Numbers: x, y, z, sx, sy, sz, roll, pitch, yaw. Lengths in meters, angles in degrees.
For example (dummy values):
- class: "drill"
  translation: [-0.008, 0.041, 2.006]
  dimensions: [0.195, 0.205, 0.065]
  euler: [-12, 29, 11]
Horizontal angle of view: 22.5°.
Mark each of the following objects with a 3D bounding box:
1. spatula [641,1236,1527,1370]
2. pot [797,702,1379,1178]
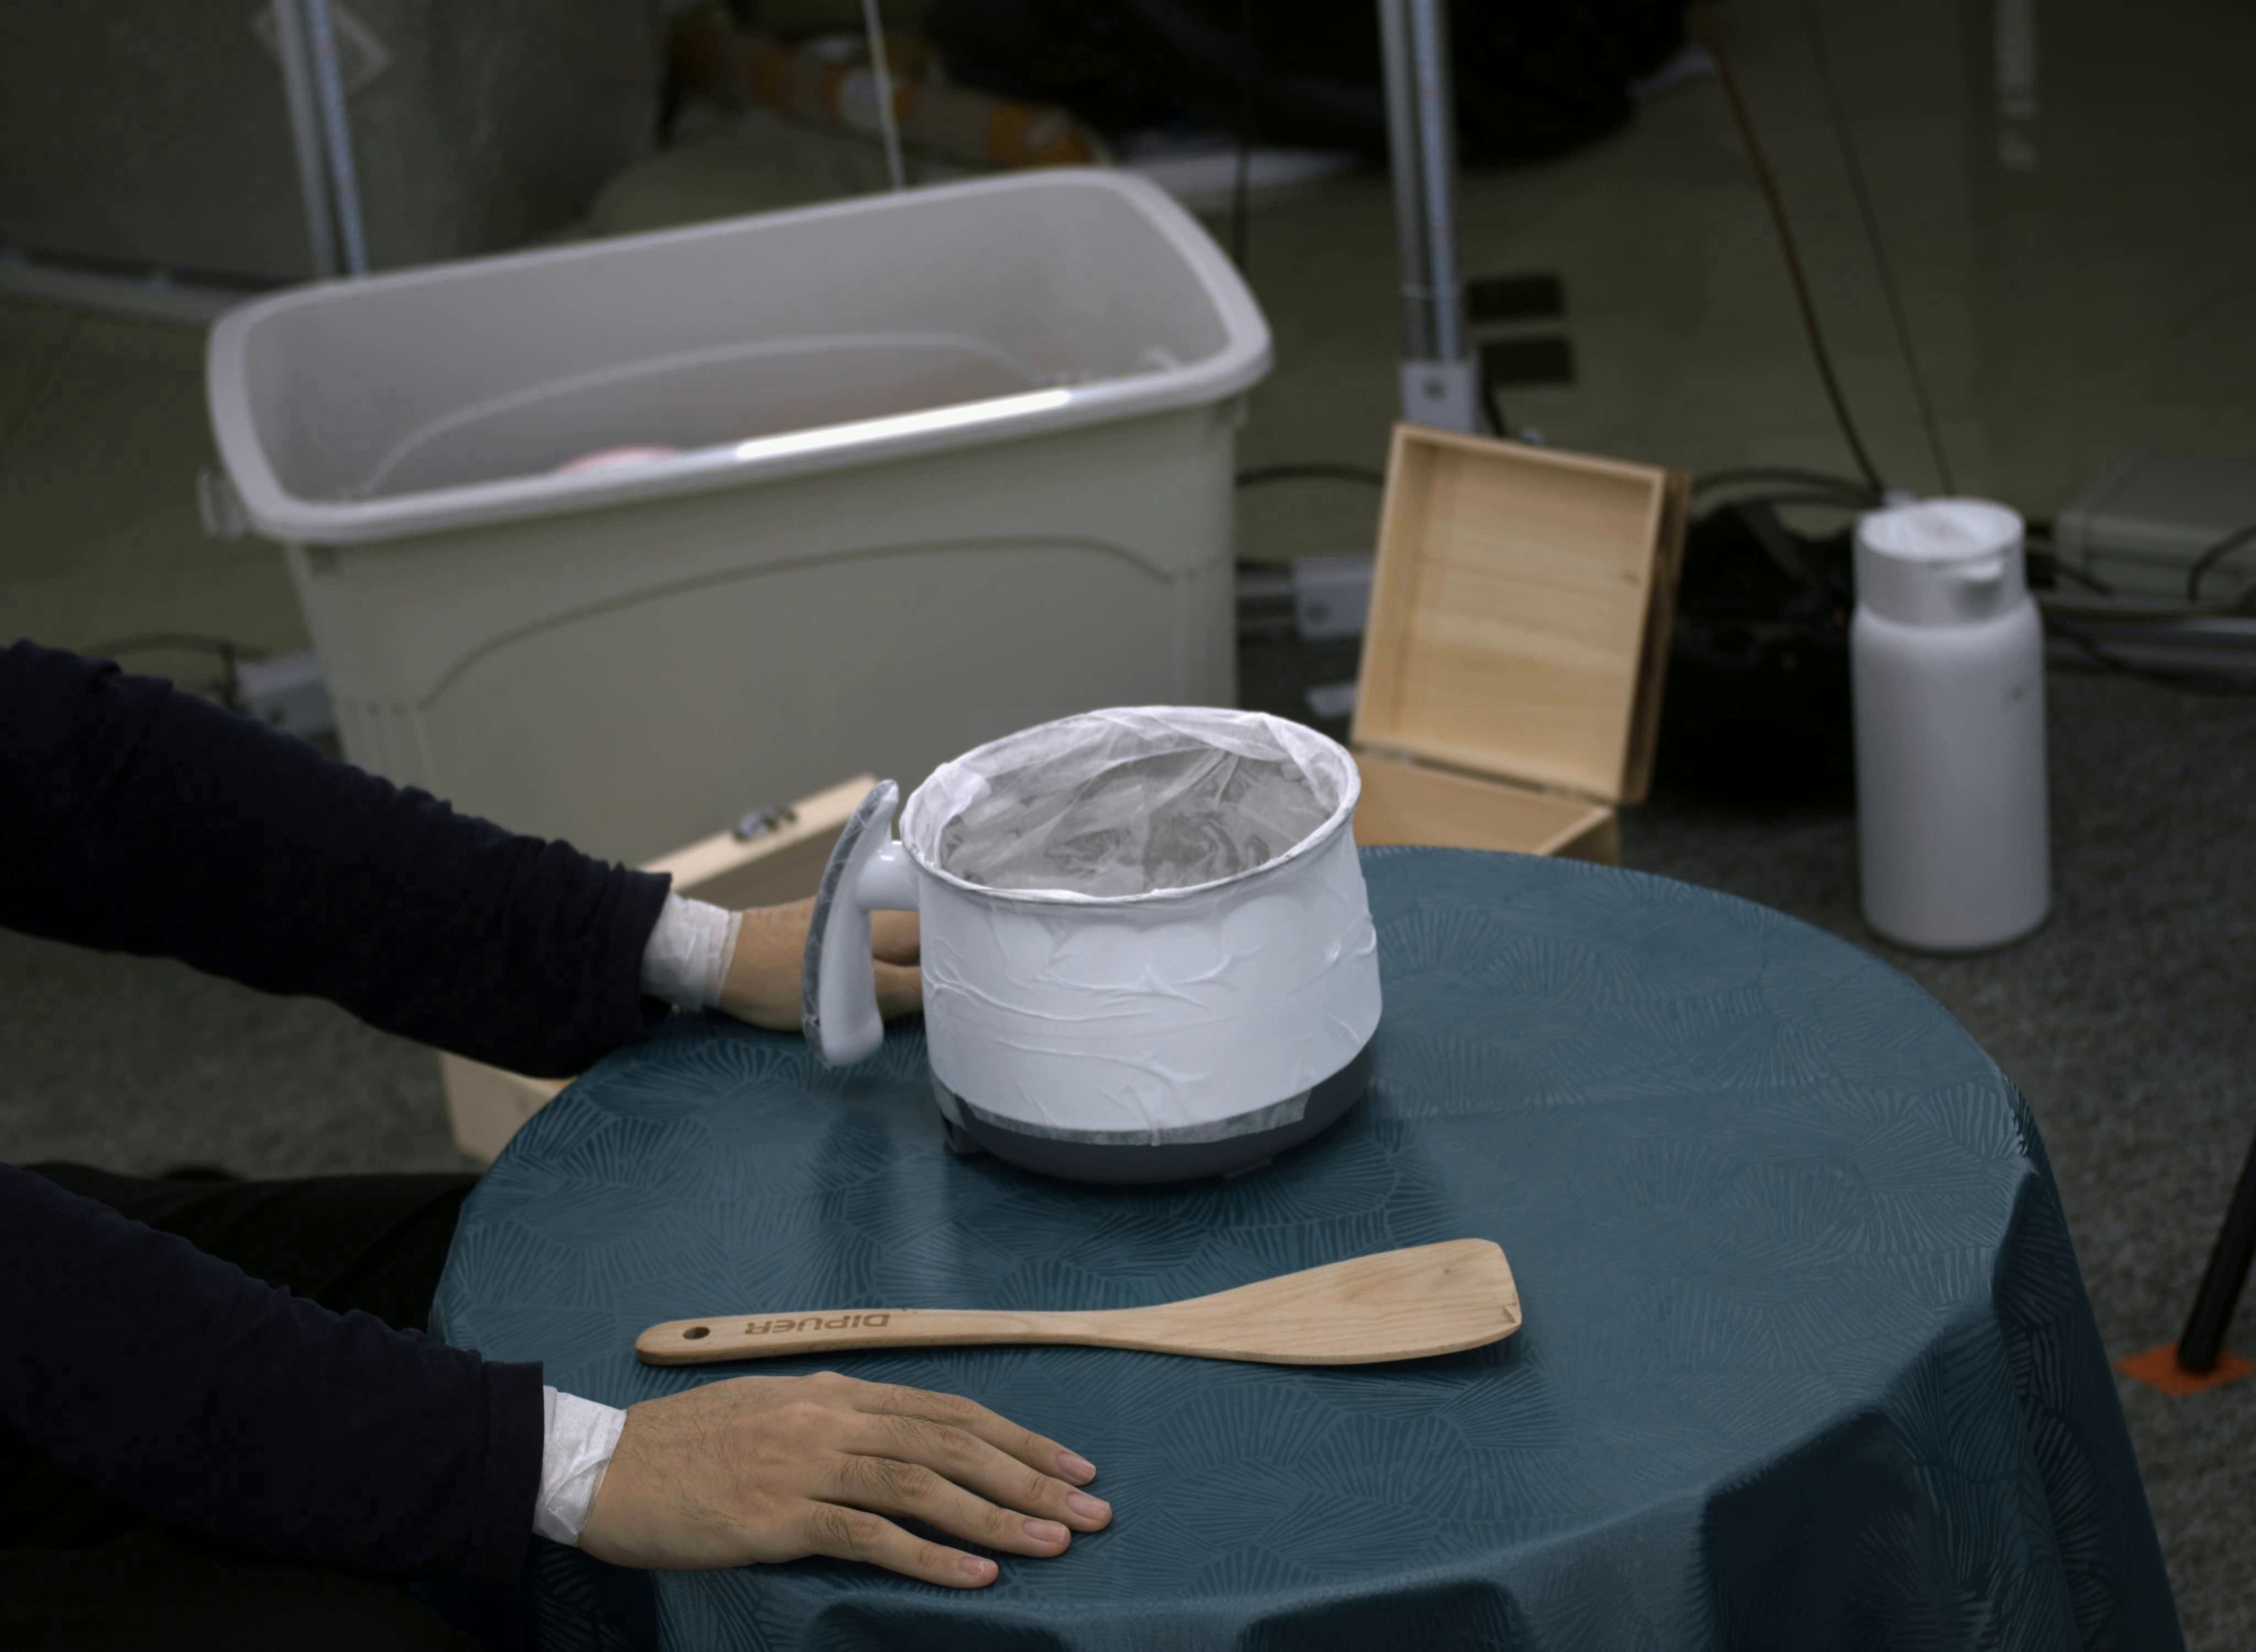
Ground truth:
- class: "spatula"
  translation: [-0.017, 0.178, 2.054]
  dimensions: [0.327, 0.017, 0.079]
  euler: [-3, 24, 8]
- class: "pot"
  translation: [-0.019, 0.044, 2.188]
  dimensions: [0.233, 0.139, 0.176]
  euler: [3, 26, 16]
